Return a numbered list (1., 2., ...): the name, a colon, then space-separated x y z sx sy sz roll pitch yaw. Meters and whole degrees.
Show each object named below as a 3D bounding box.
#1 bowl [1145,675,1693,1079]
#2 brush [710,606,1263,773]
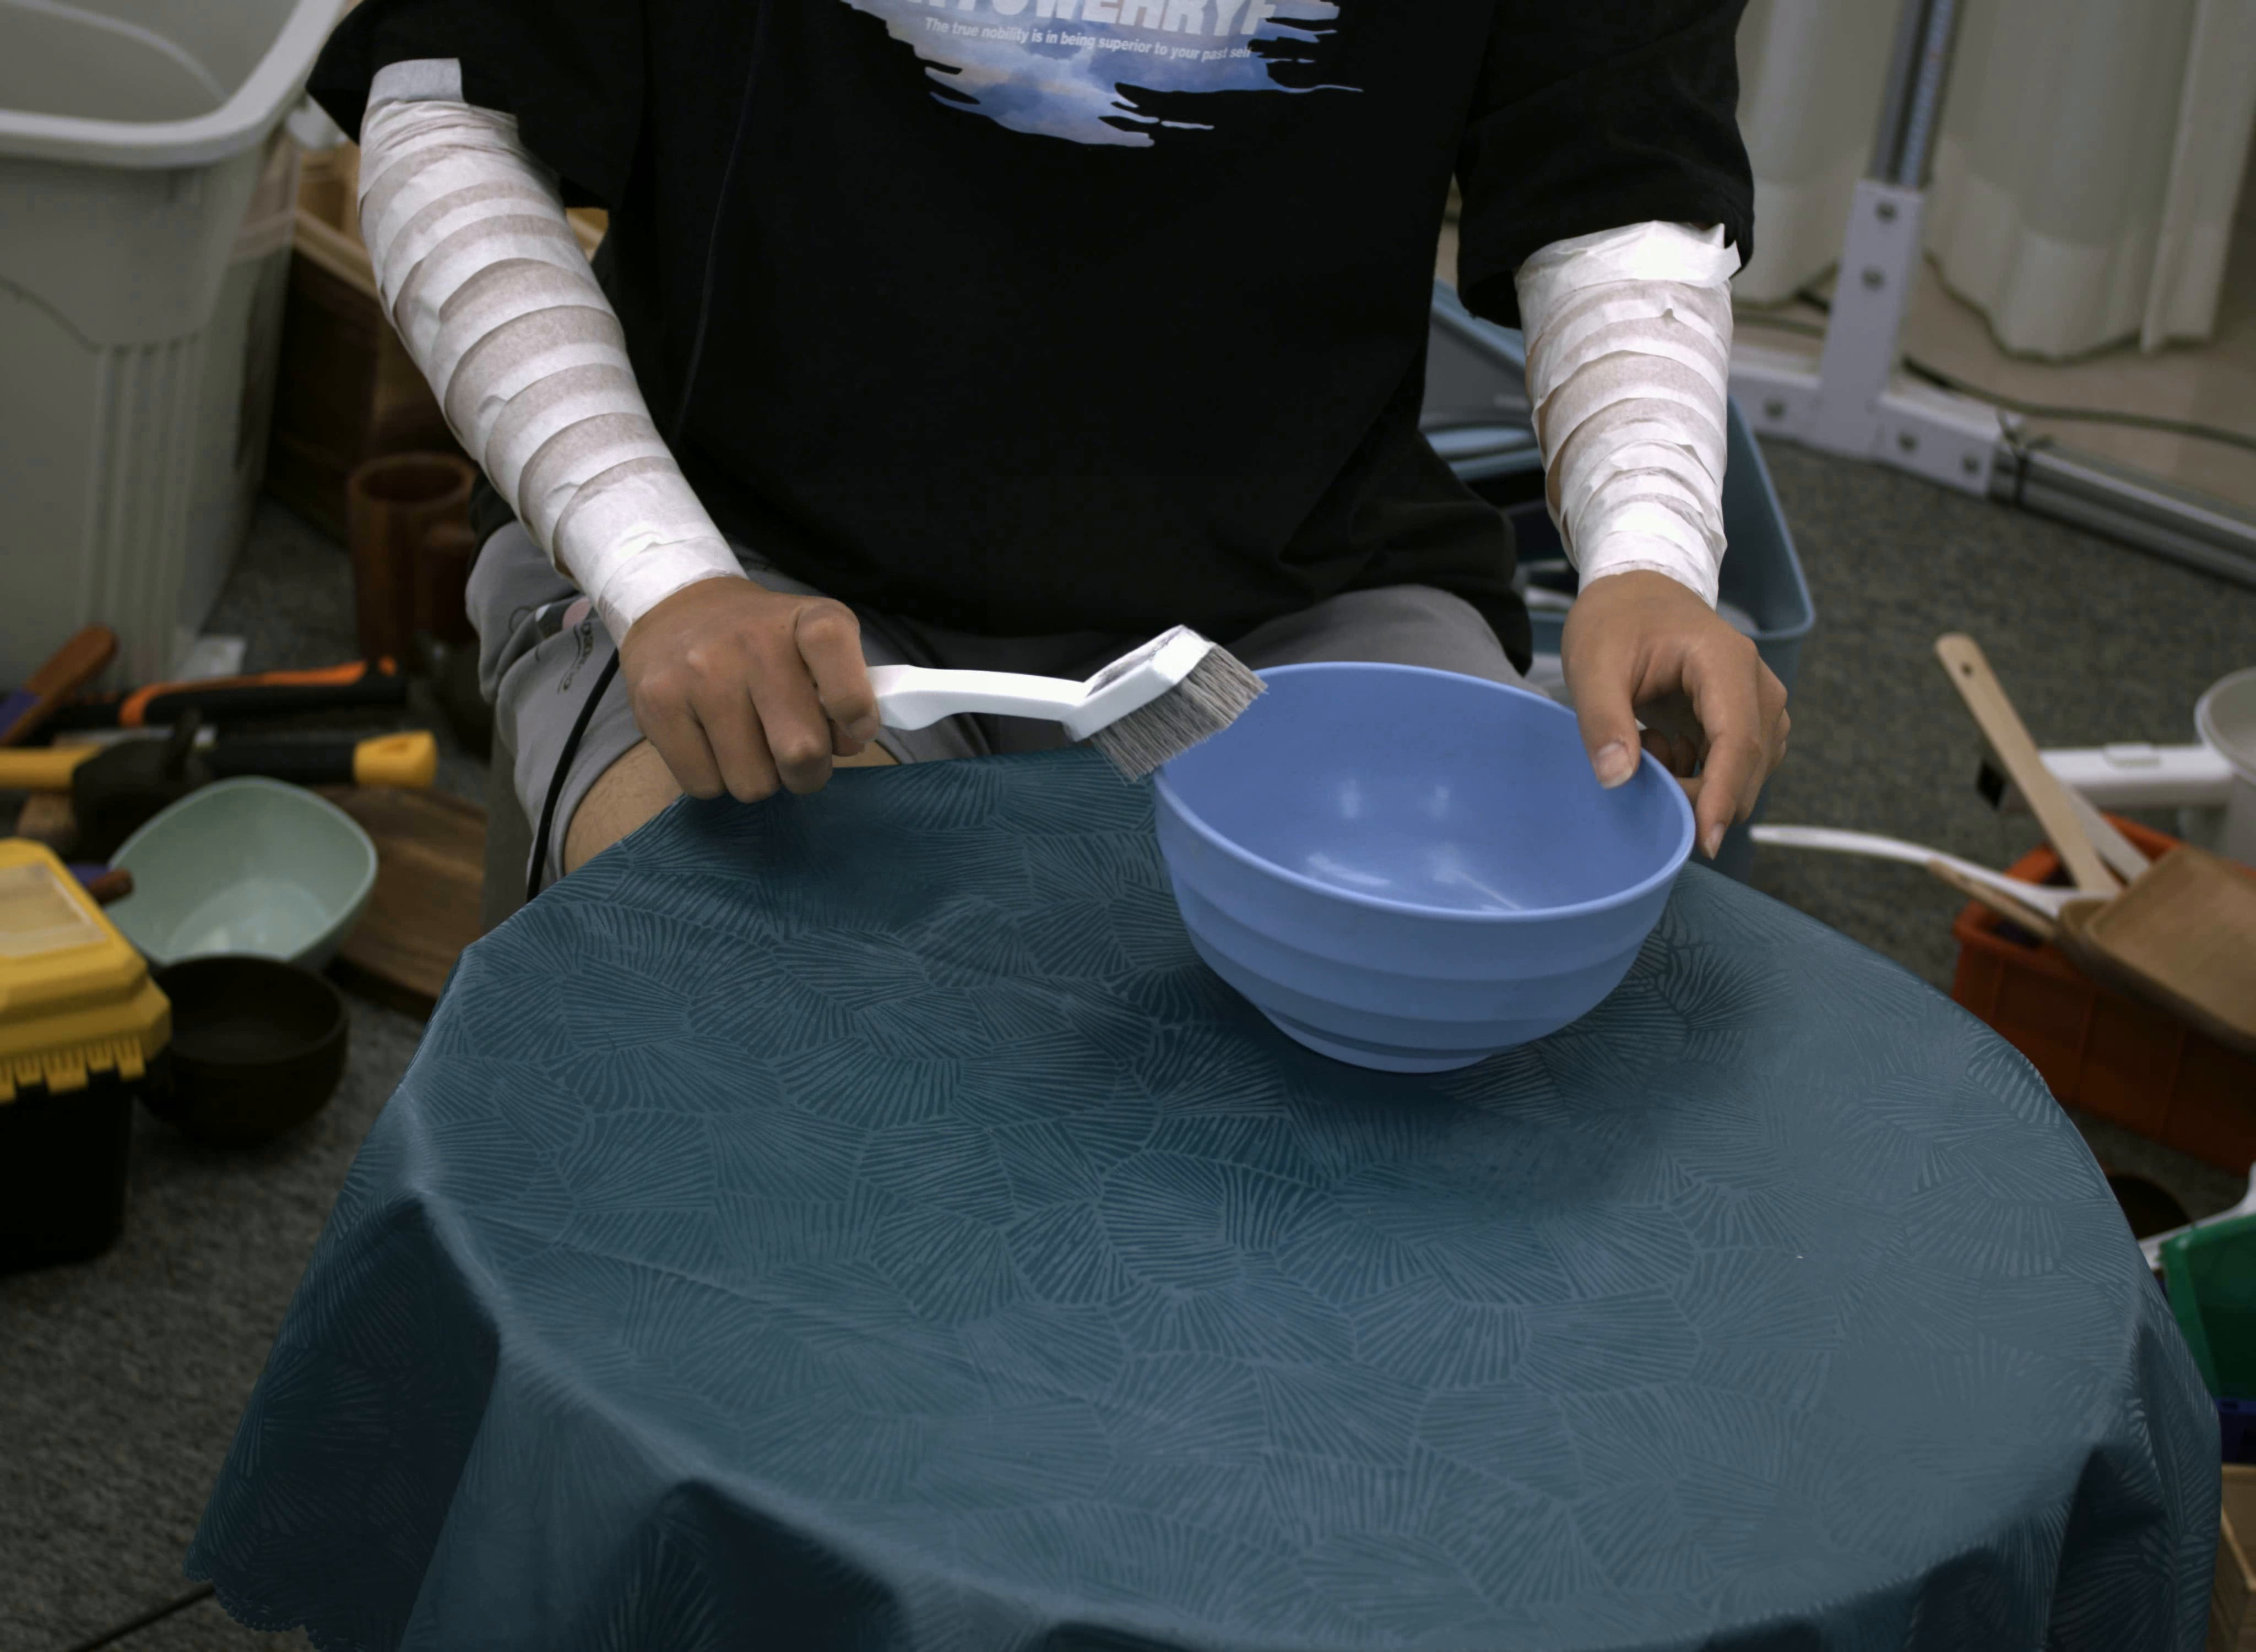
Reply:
1. bowl: 0.099 0.028 1.914 0.196 0.095 0.197 4 26 -2
2. brush: -0.053 -0.036 1.926 0.244 0.050 0.034 -9 28 40
